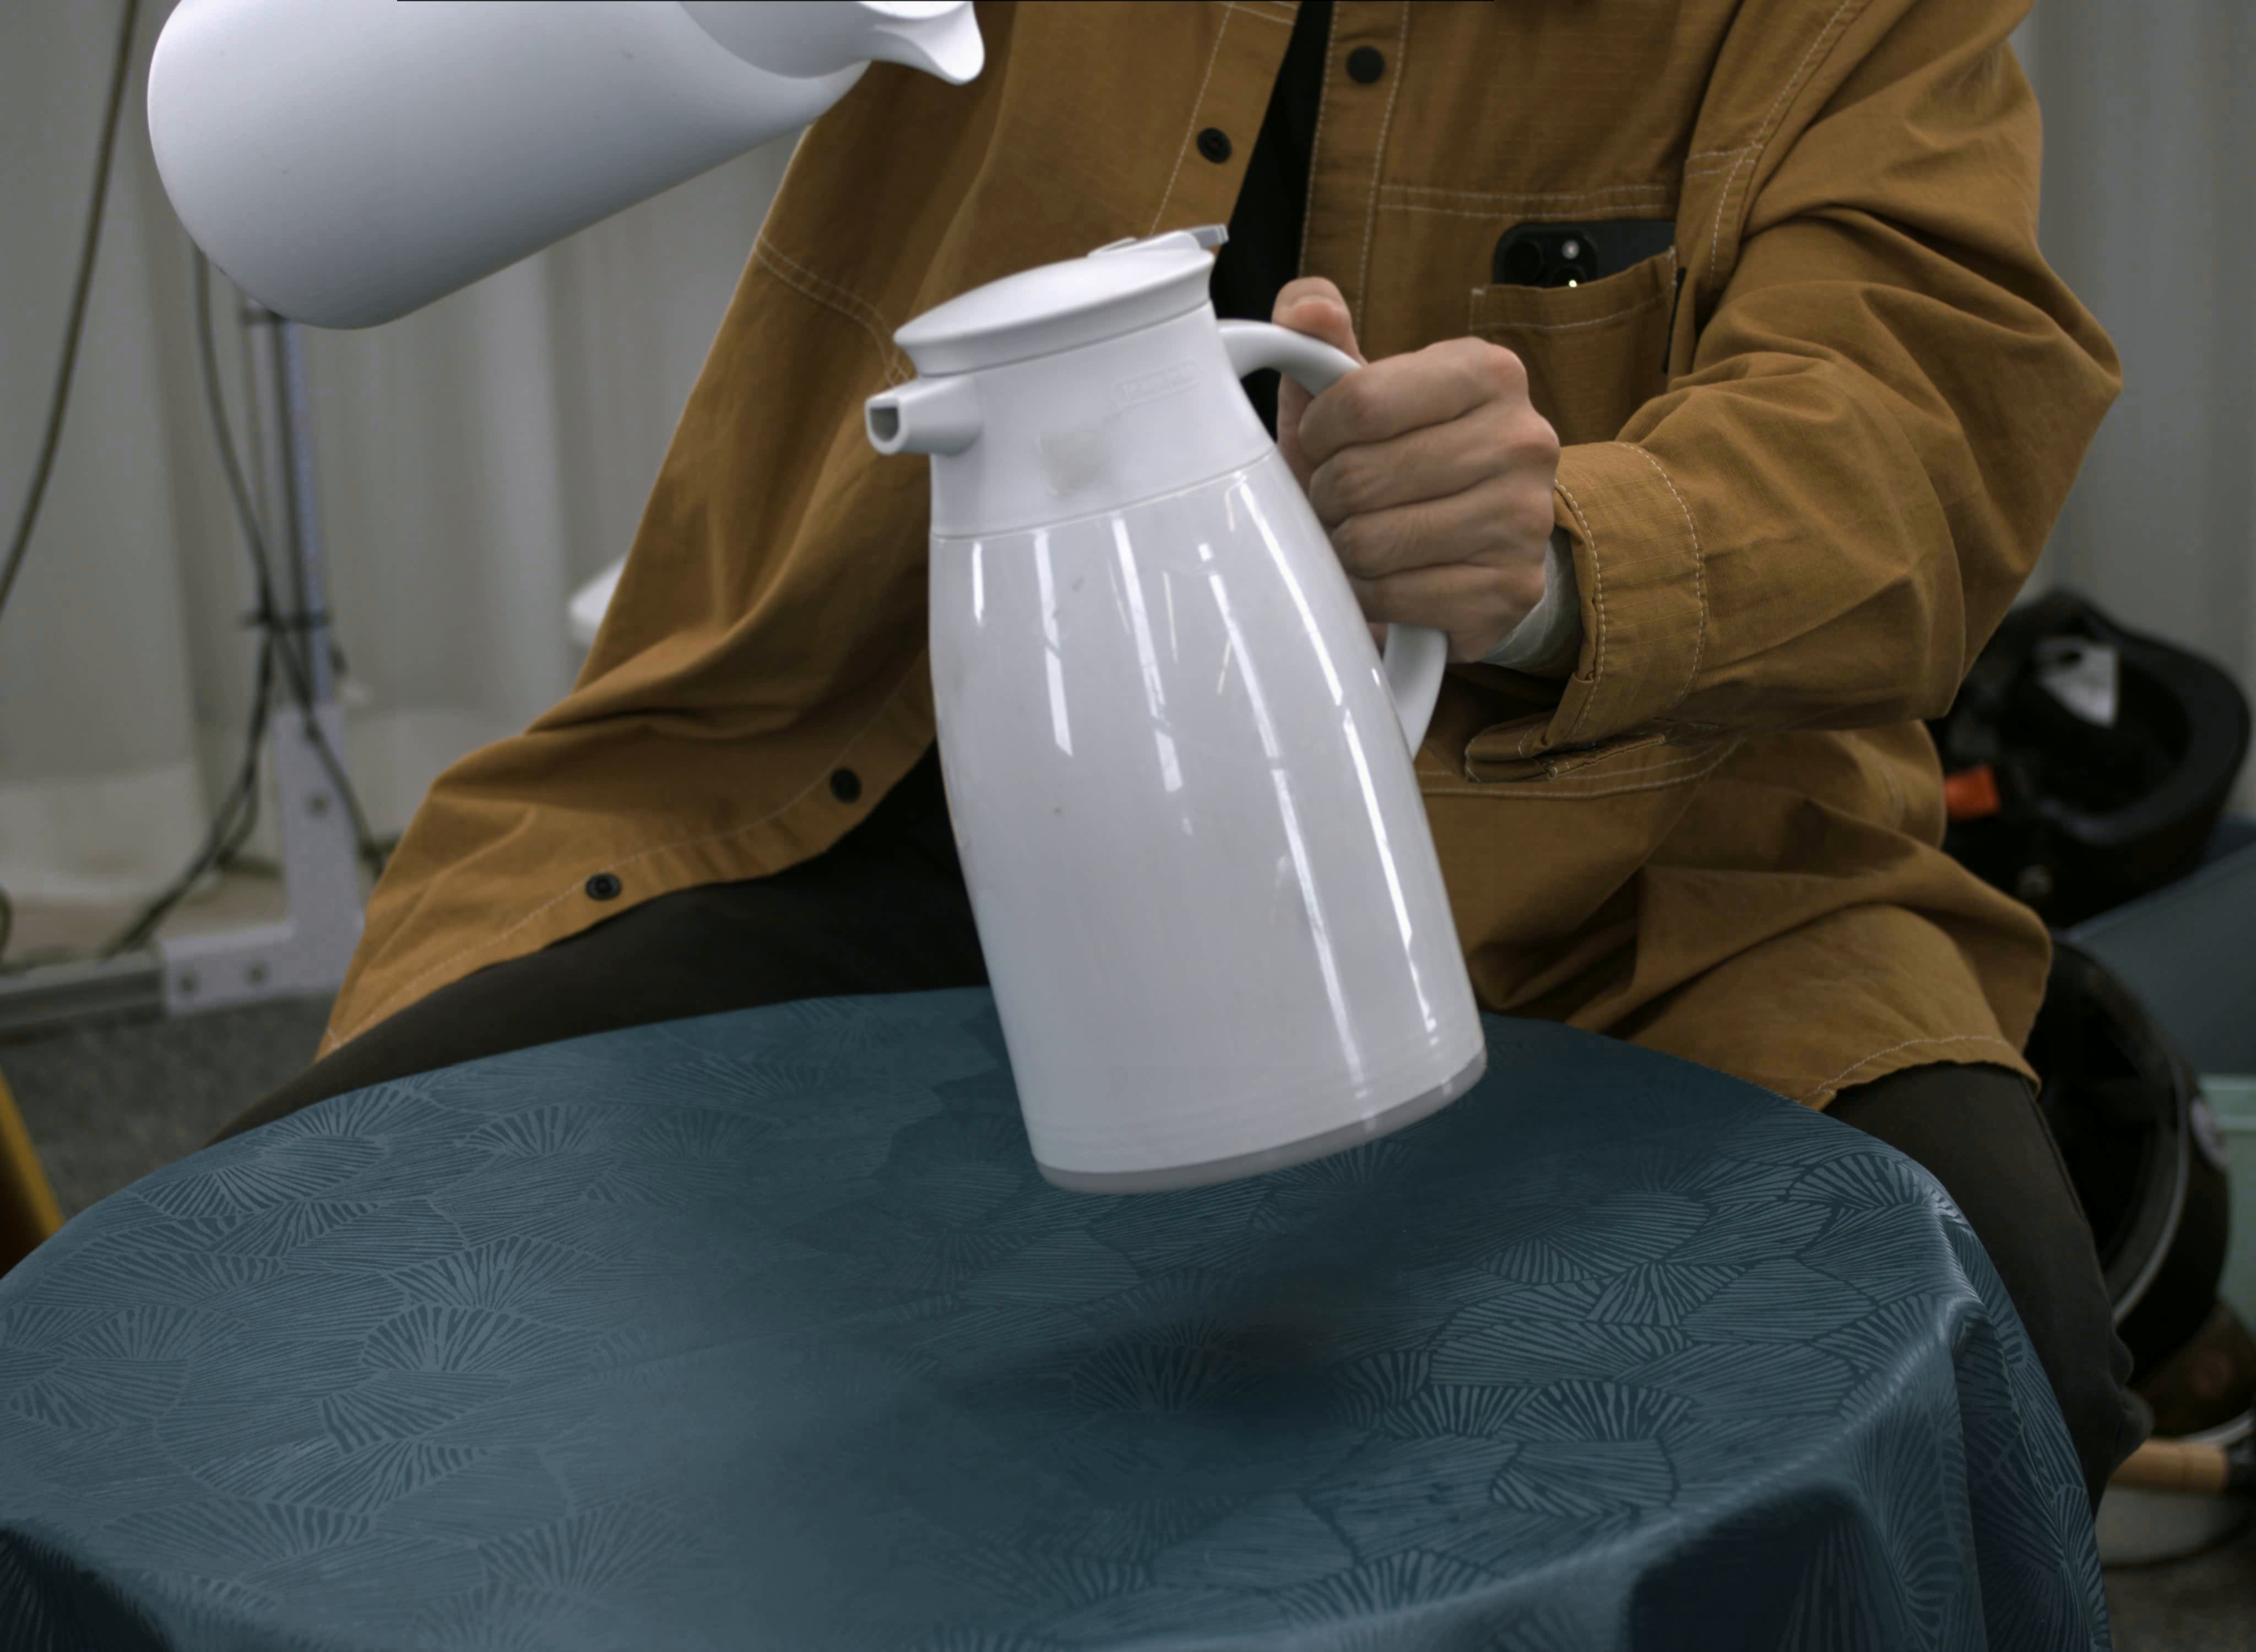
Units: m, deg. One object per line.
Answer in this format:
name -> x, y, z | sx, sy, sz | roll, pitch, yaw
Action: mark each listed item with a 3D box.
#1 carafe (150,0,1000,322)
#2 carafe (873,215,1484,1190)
carafe -> -0.169, -0.252, 1.578 | 0.268, 0.172, 0.124 | -18, 15, 44
carafe -> 0.023, -0.043, 1.534 | 0.167, 0.248, 0.133 | -19, 11, -32
